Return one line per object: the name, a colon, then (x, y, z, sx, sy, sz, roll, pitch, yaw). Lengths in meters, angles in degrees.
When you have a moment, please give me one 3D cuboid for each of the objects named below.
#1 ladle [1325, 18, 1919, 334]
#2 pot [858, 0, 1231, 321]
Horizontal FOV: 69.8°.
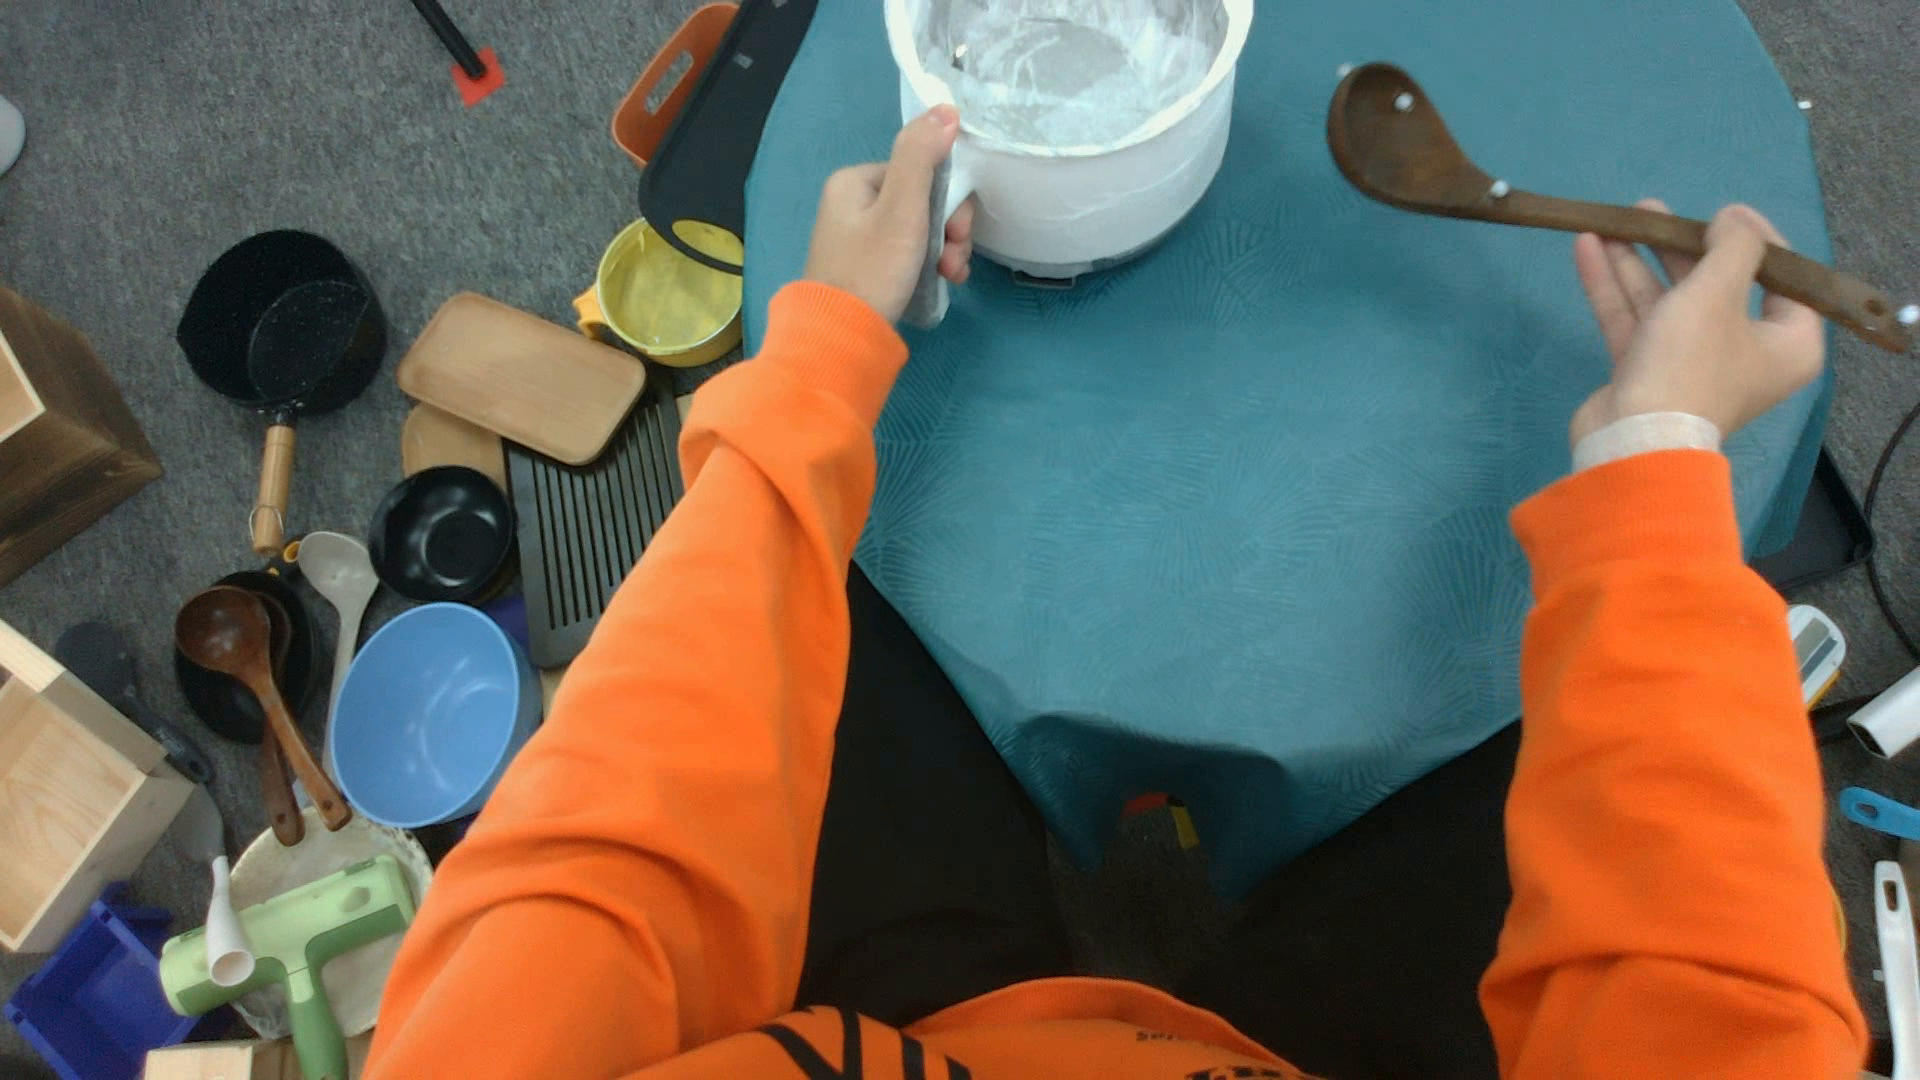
ladle: (0.296, -0.169, 0.624, 0.274, 0.071, 0.076, 28, 68, 27)
pot: (0.029, -0.222, 0.715, 0.179, 0.136, 0.234, 35, 78, 13)
